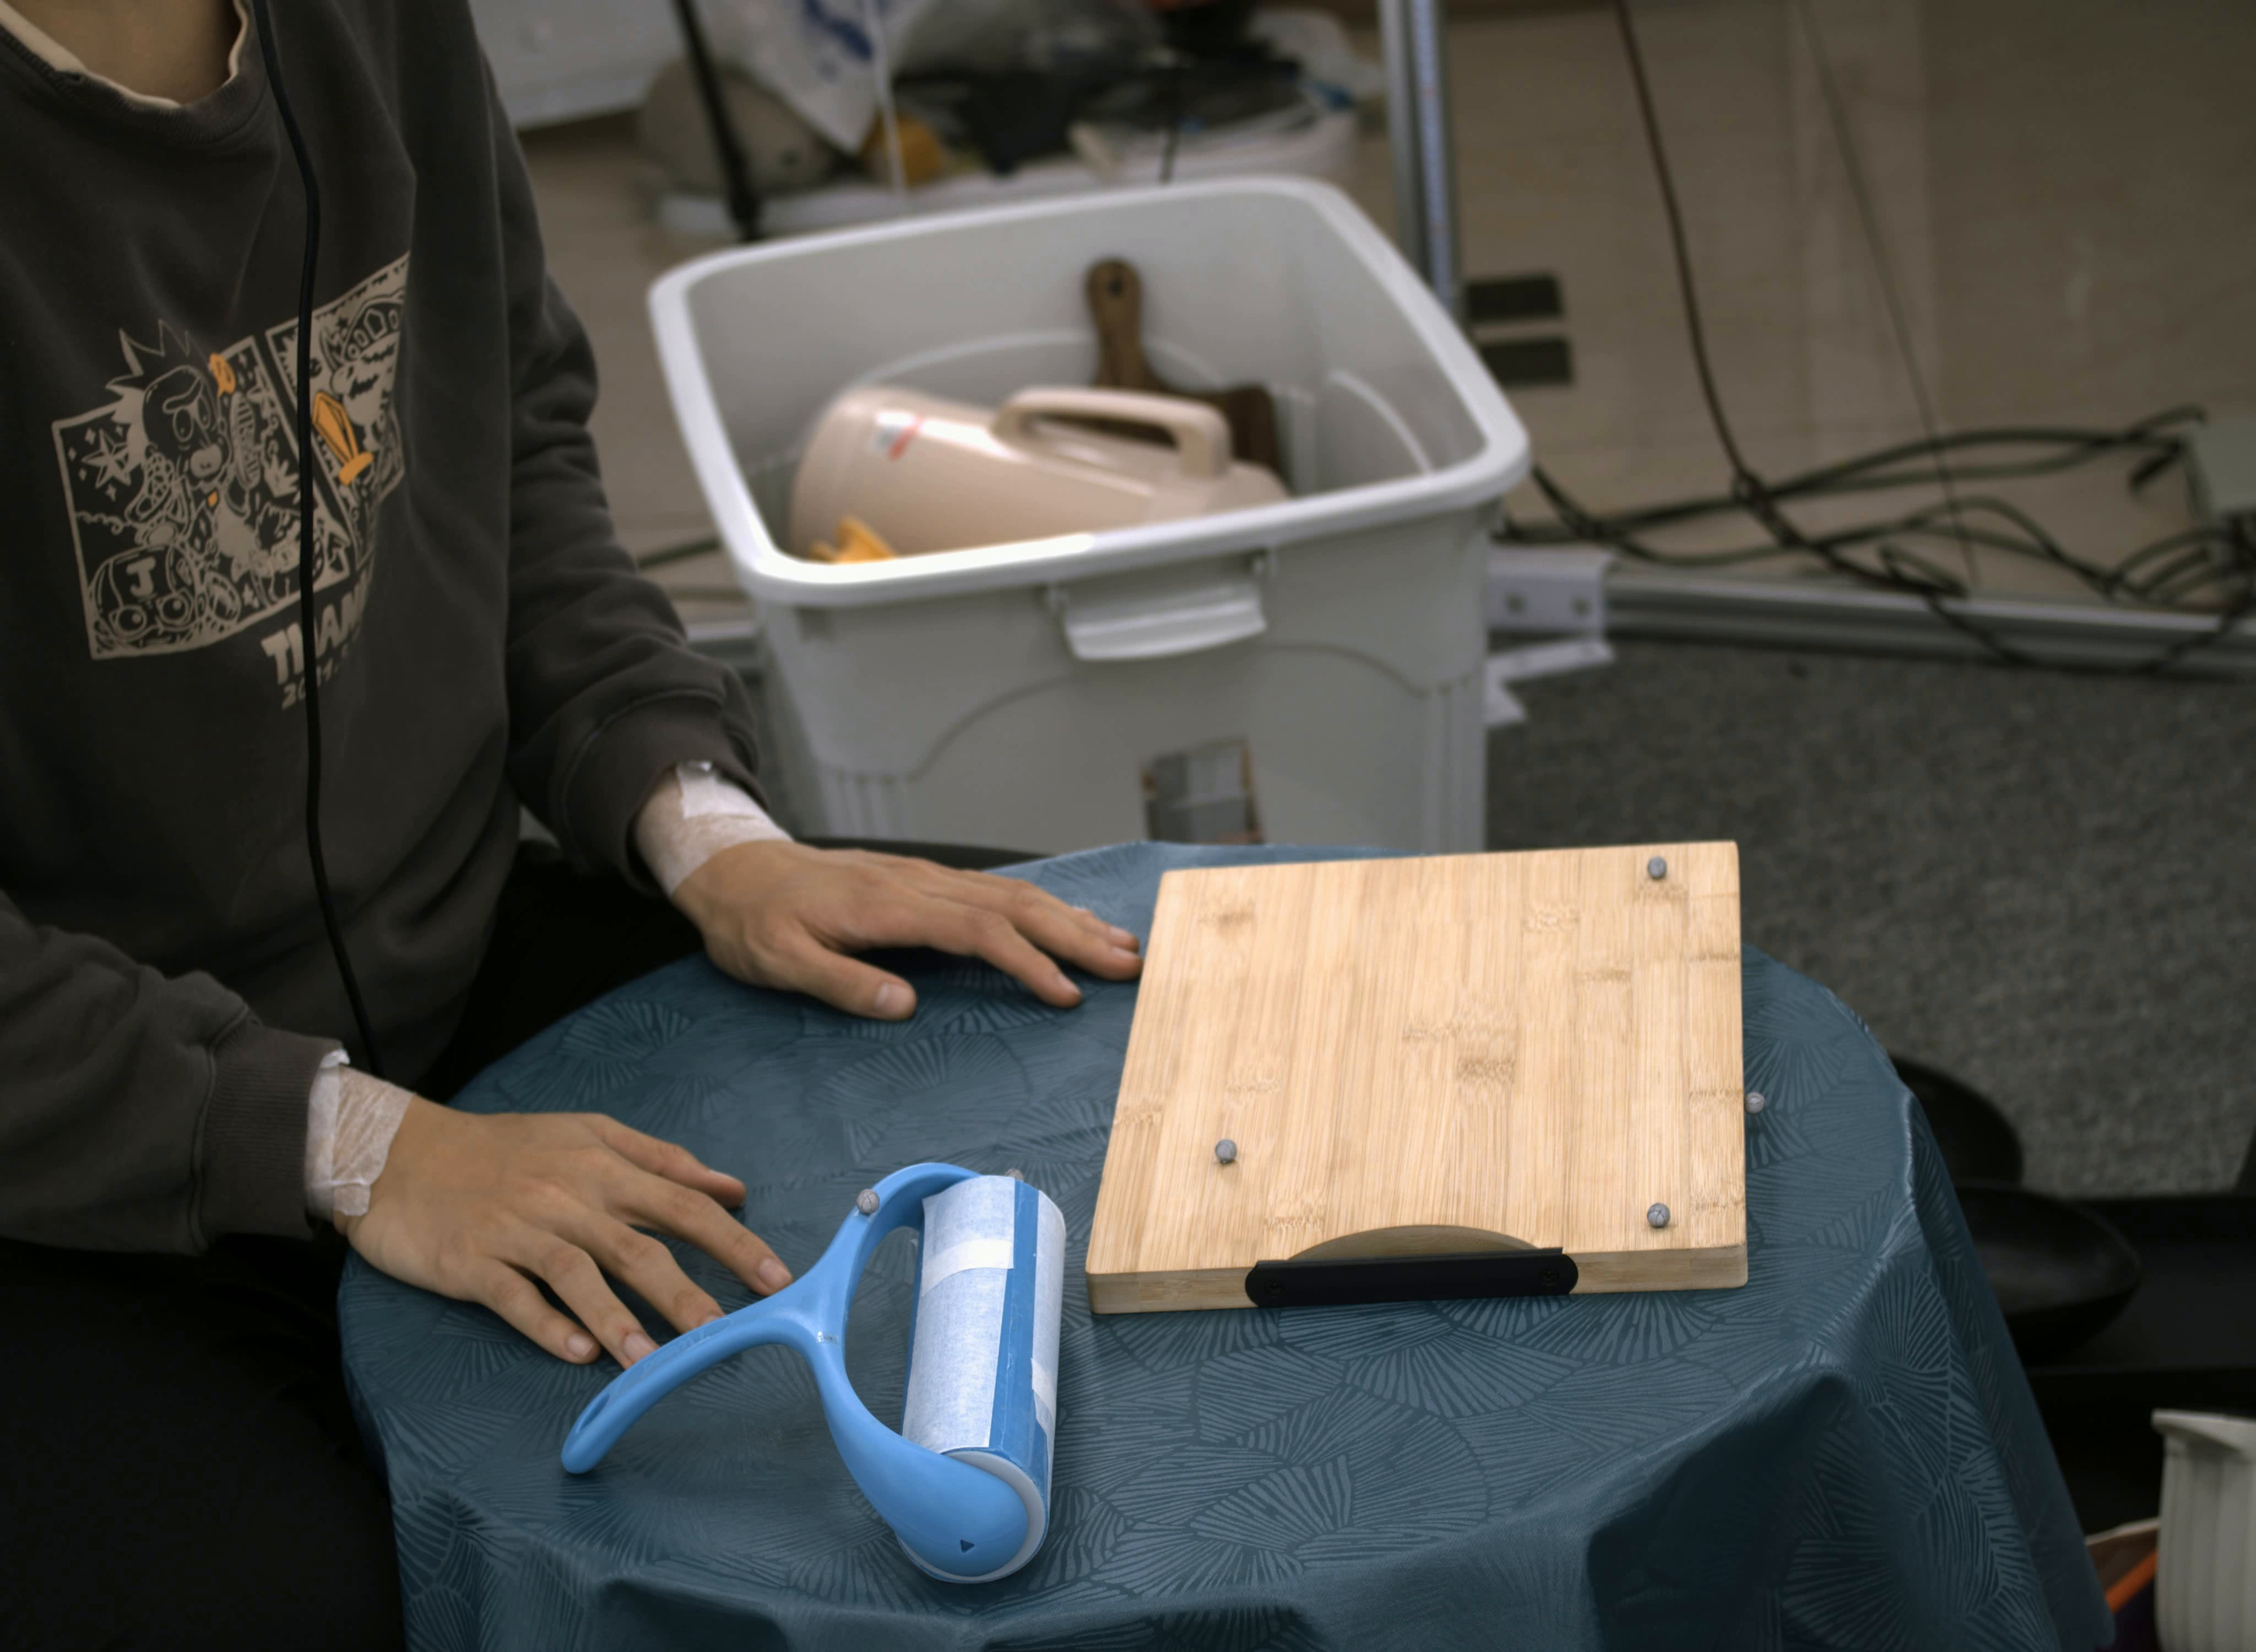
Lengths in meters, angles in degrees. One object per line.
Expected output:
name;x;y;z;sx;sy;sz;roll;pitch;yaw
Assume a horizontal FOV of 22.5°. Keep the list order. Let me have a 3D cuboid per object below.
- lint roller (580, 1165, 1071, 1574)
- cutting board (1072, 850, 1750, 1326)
lint roller;-0.106;0.194;1.986;0.180;0.069;0.225;-6;26;0
cutting board;0.117;0.095;2.192;0.250;0.024;0.343;-4;25;7
